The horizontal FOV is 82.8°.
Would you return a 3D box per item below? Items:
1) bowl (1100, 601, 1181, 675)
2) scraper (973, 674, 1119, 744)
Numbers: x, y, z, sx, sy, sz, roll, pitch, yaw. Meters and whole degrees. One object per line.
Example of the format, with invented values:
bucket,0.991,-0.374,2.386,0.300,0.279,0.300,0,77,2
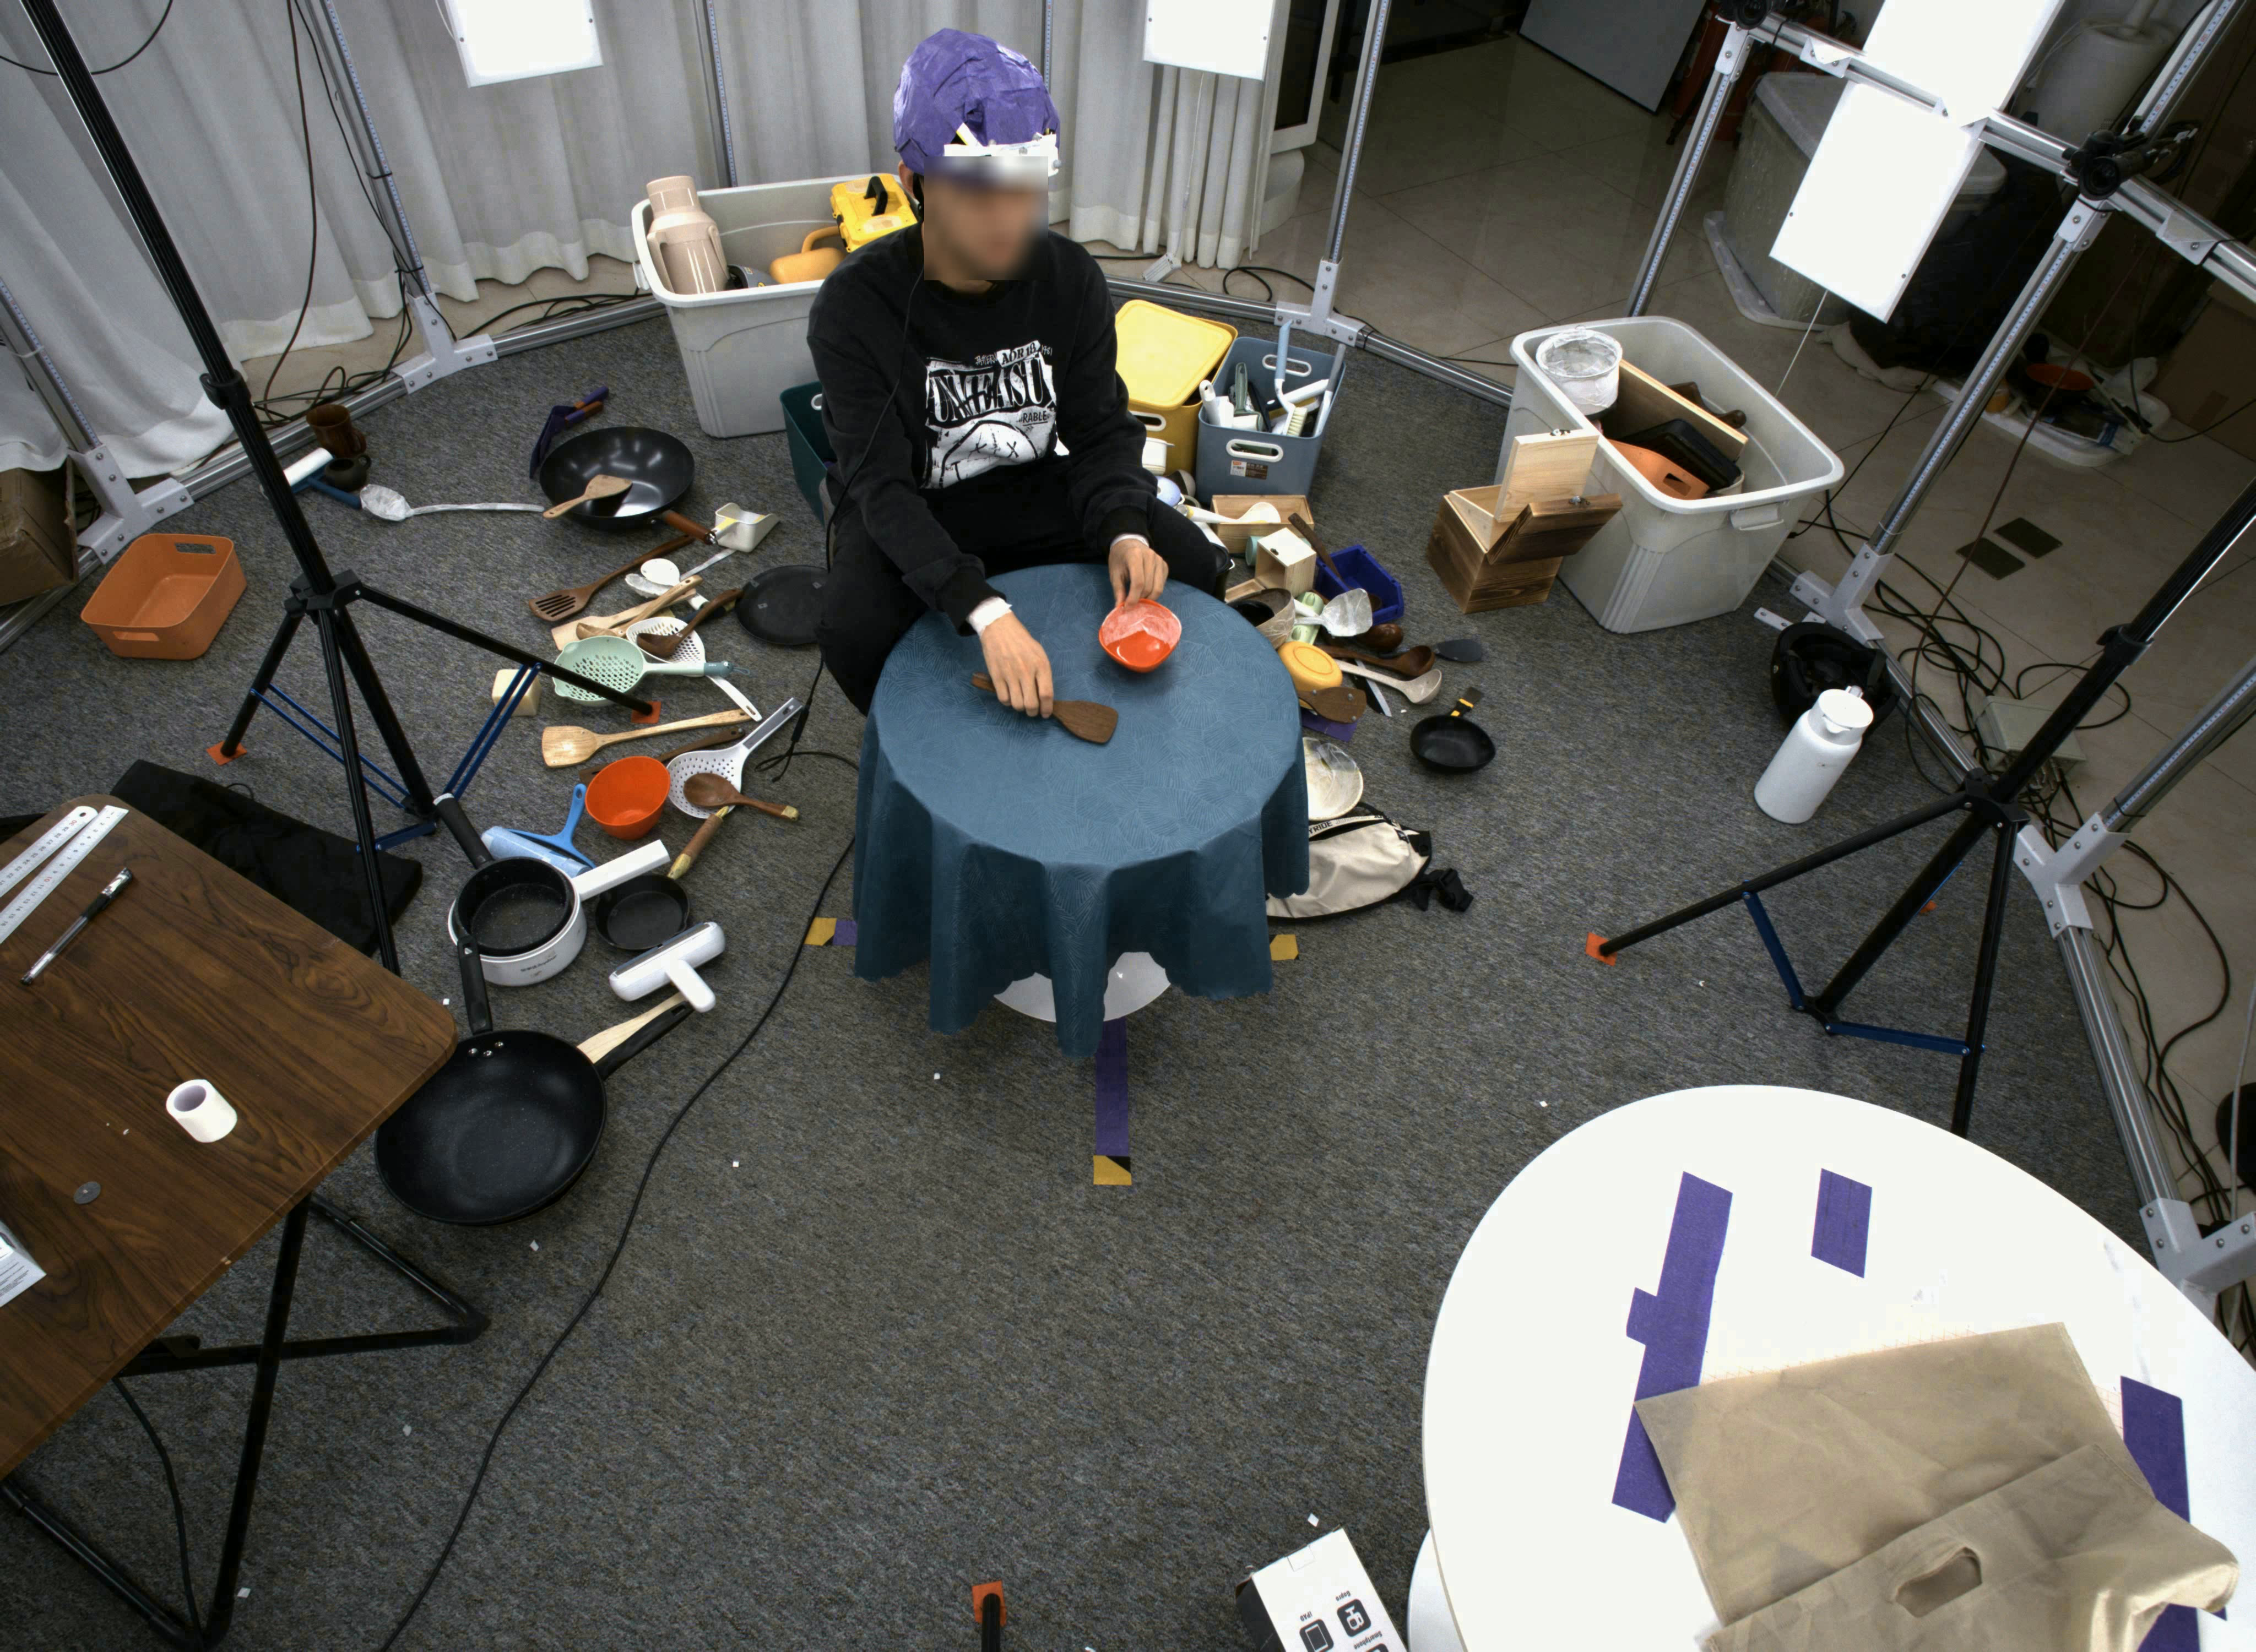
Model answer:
bowl,0.020,-0.267,1.877,0.119,0.050,0.121,-2,63,4
scraper,-0.117,-0.171,1.803,0.211,0.010,0.077,20,47,2
